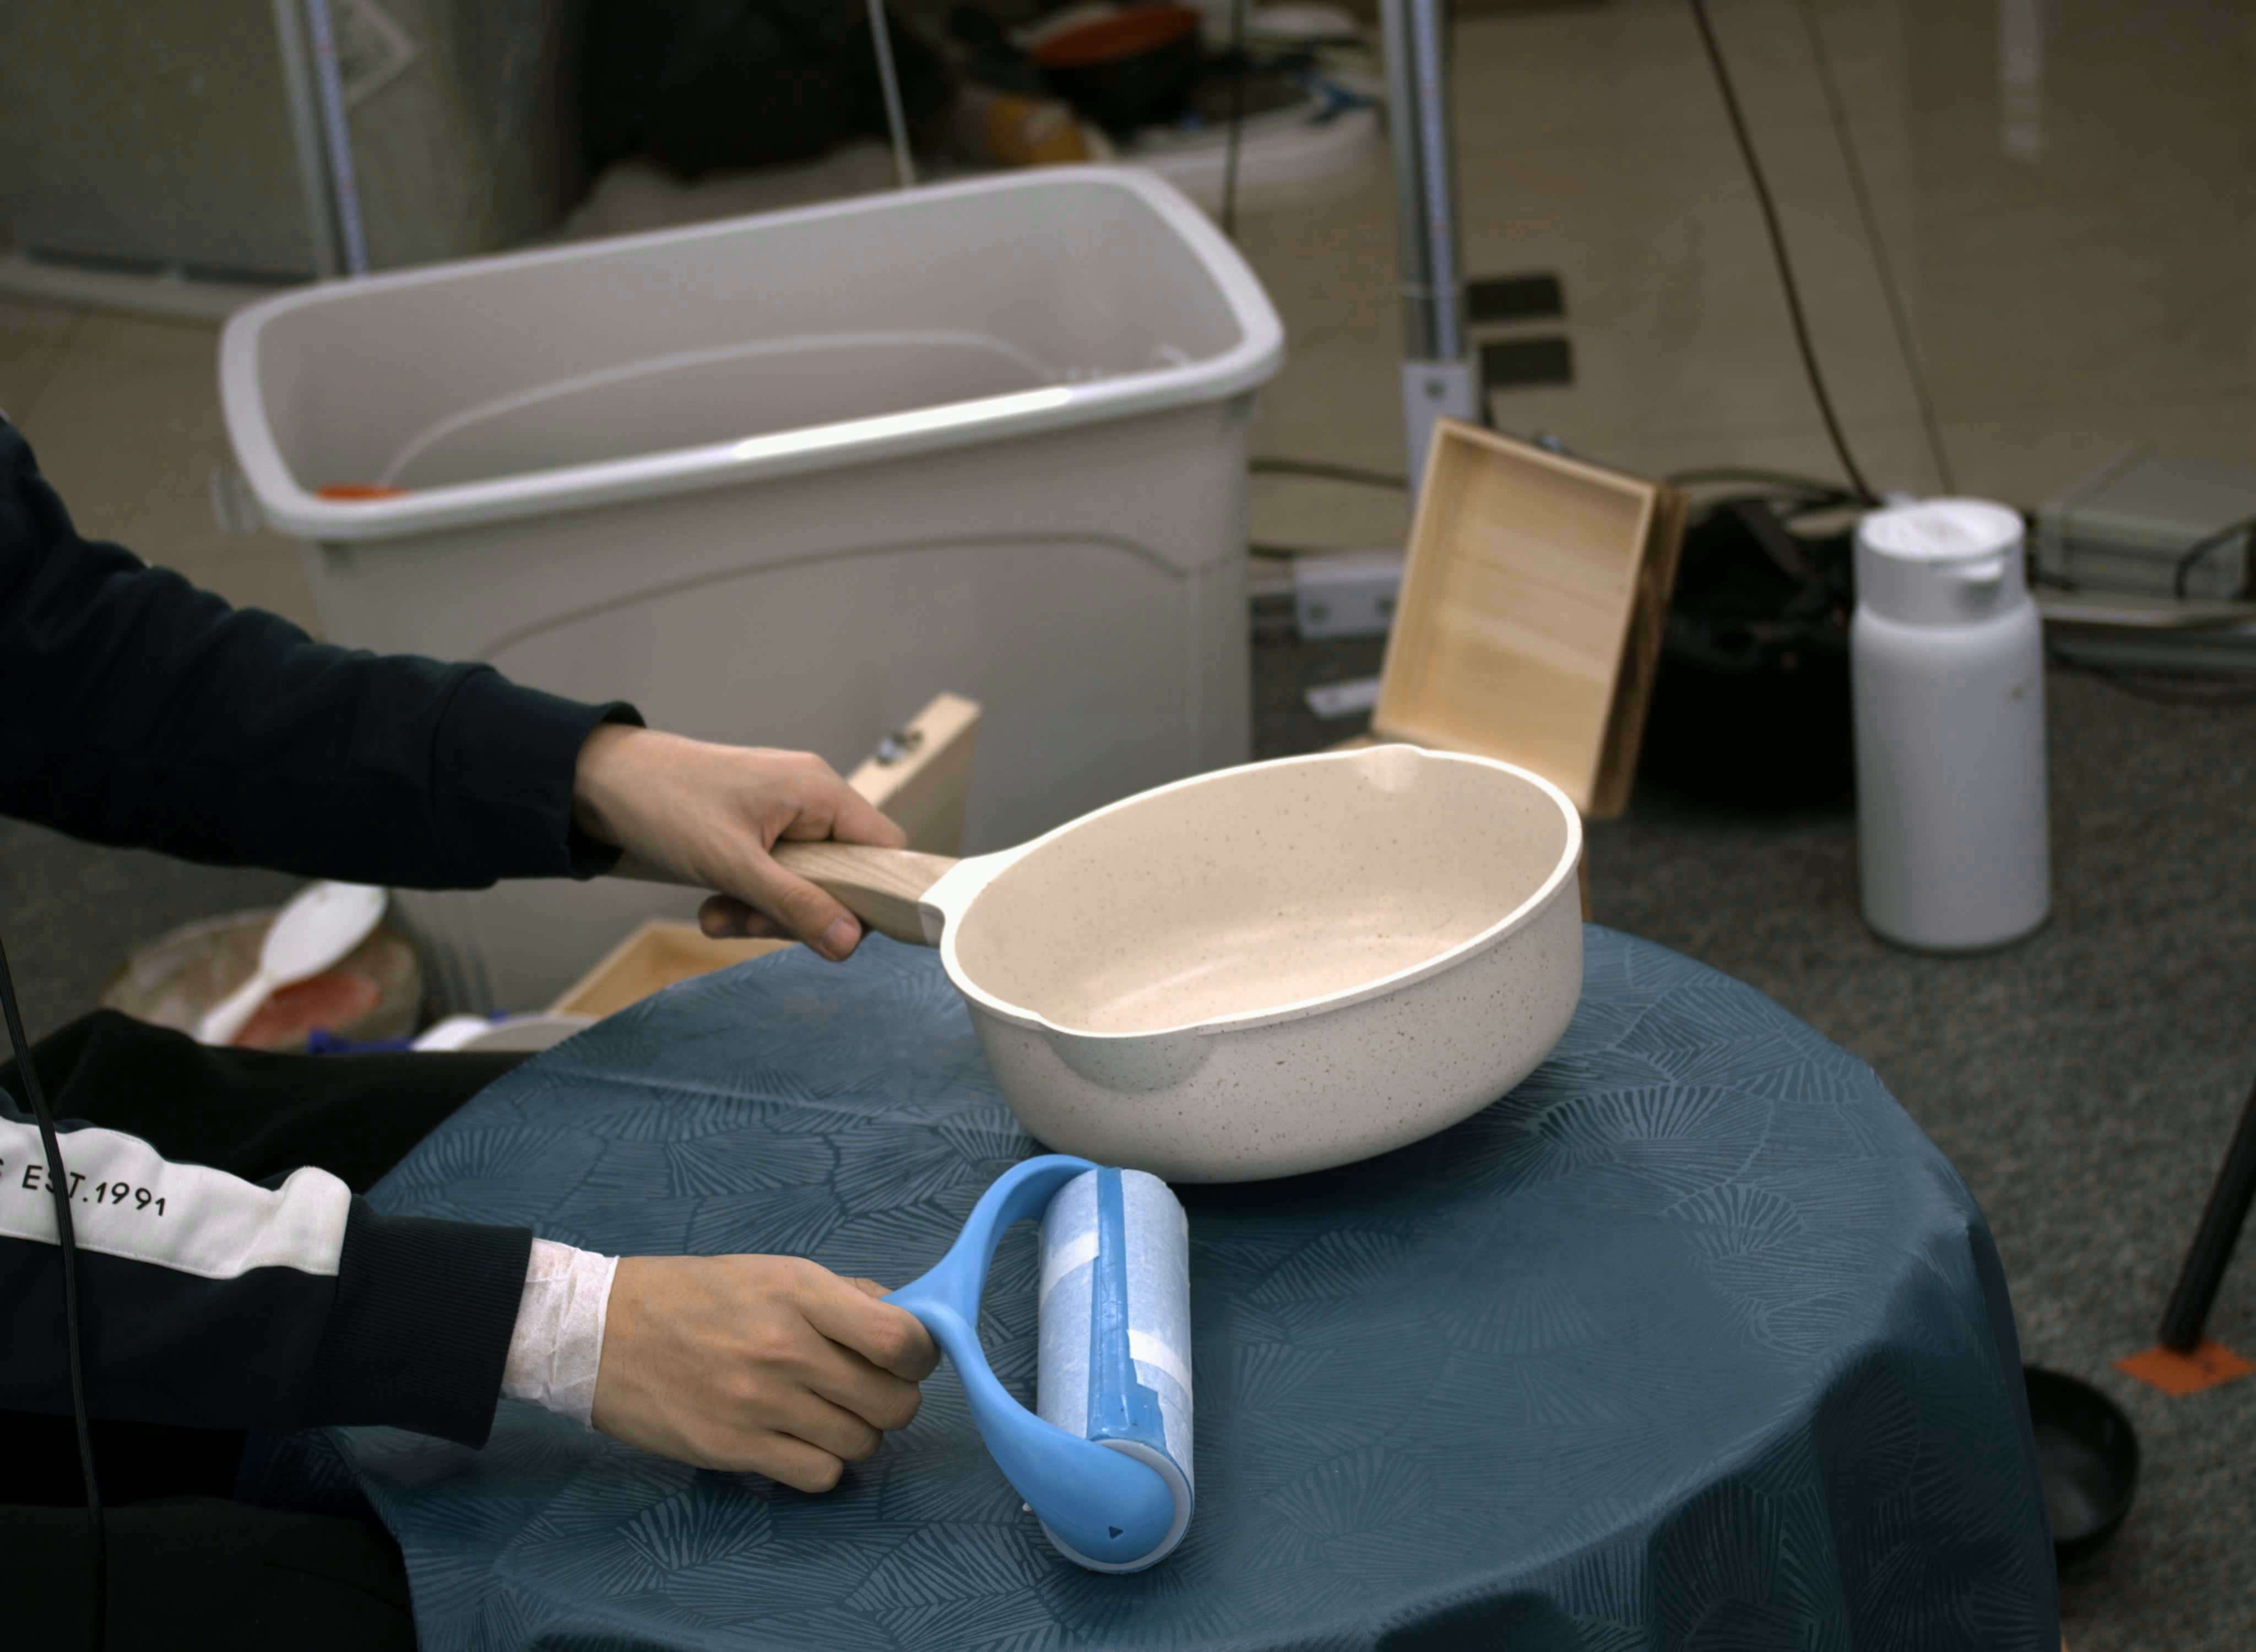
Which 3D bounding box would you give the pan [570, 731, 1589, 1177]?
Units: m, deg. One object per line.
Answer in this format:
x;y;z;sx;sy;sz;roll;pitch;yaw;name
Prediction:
-0.023;0.049;2.225;0.434;0.103;0.260;-1;26;29;pan

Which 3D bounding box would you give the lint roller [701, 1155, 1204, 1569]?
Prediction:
-0.063;0.191;1.979;0.180;0.069;0.225;-6;26;-1;lint roller
